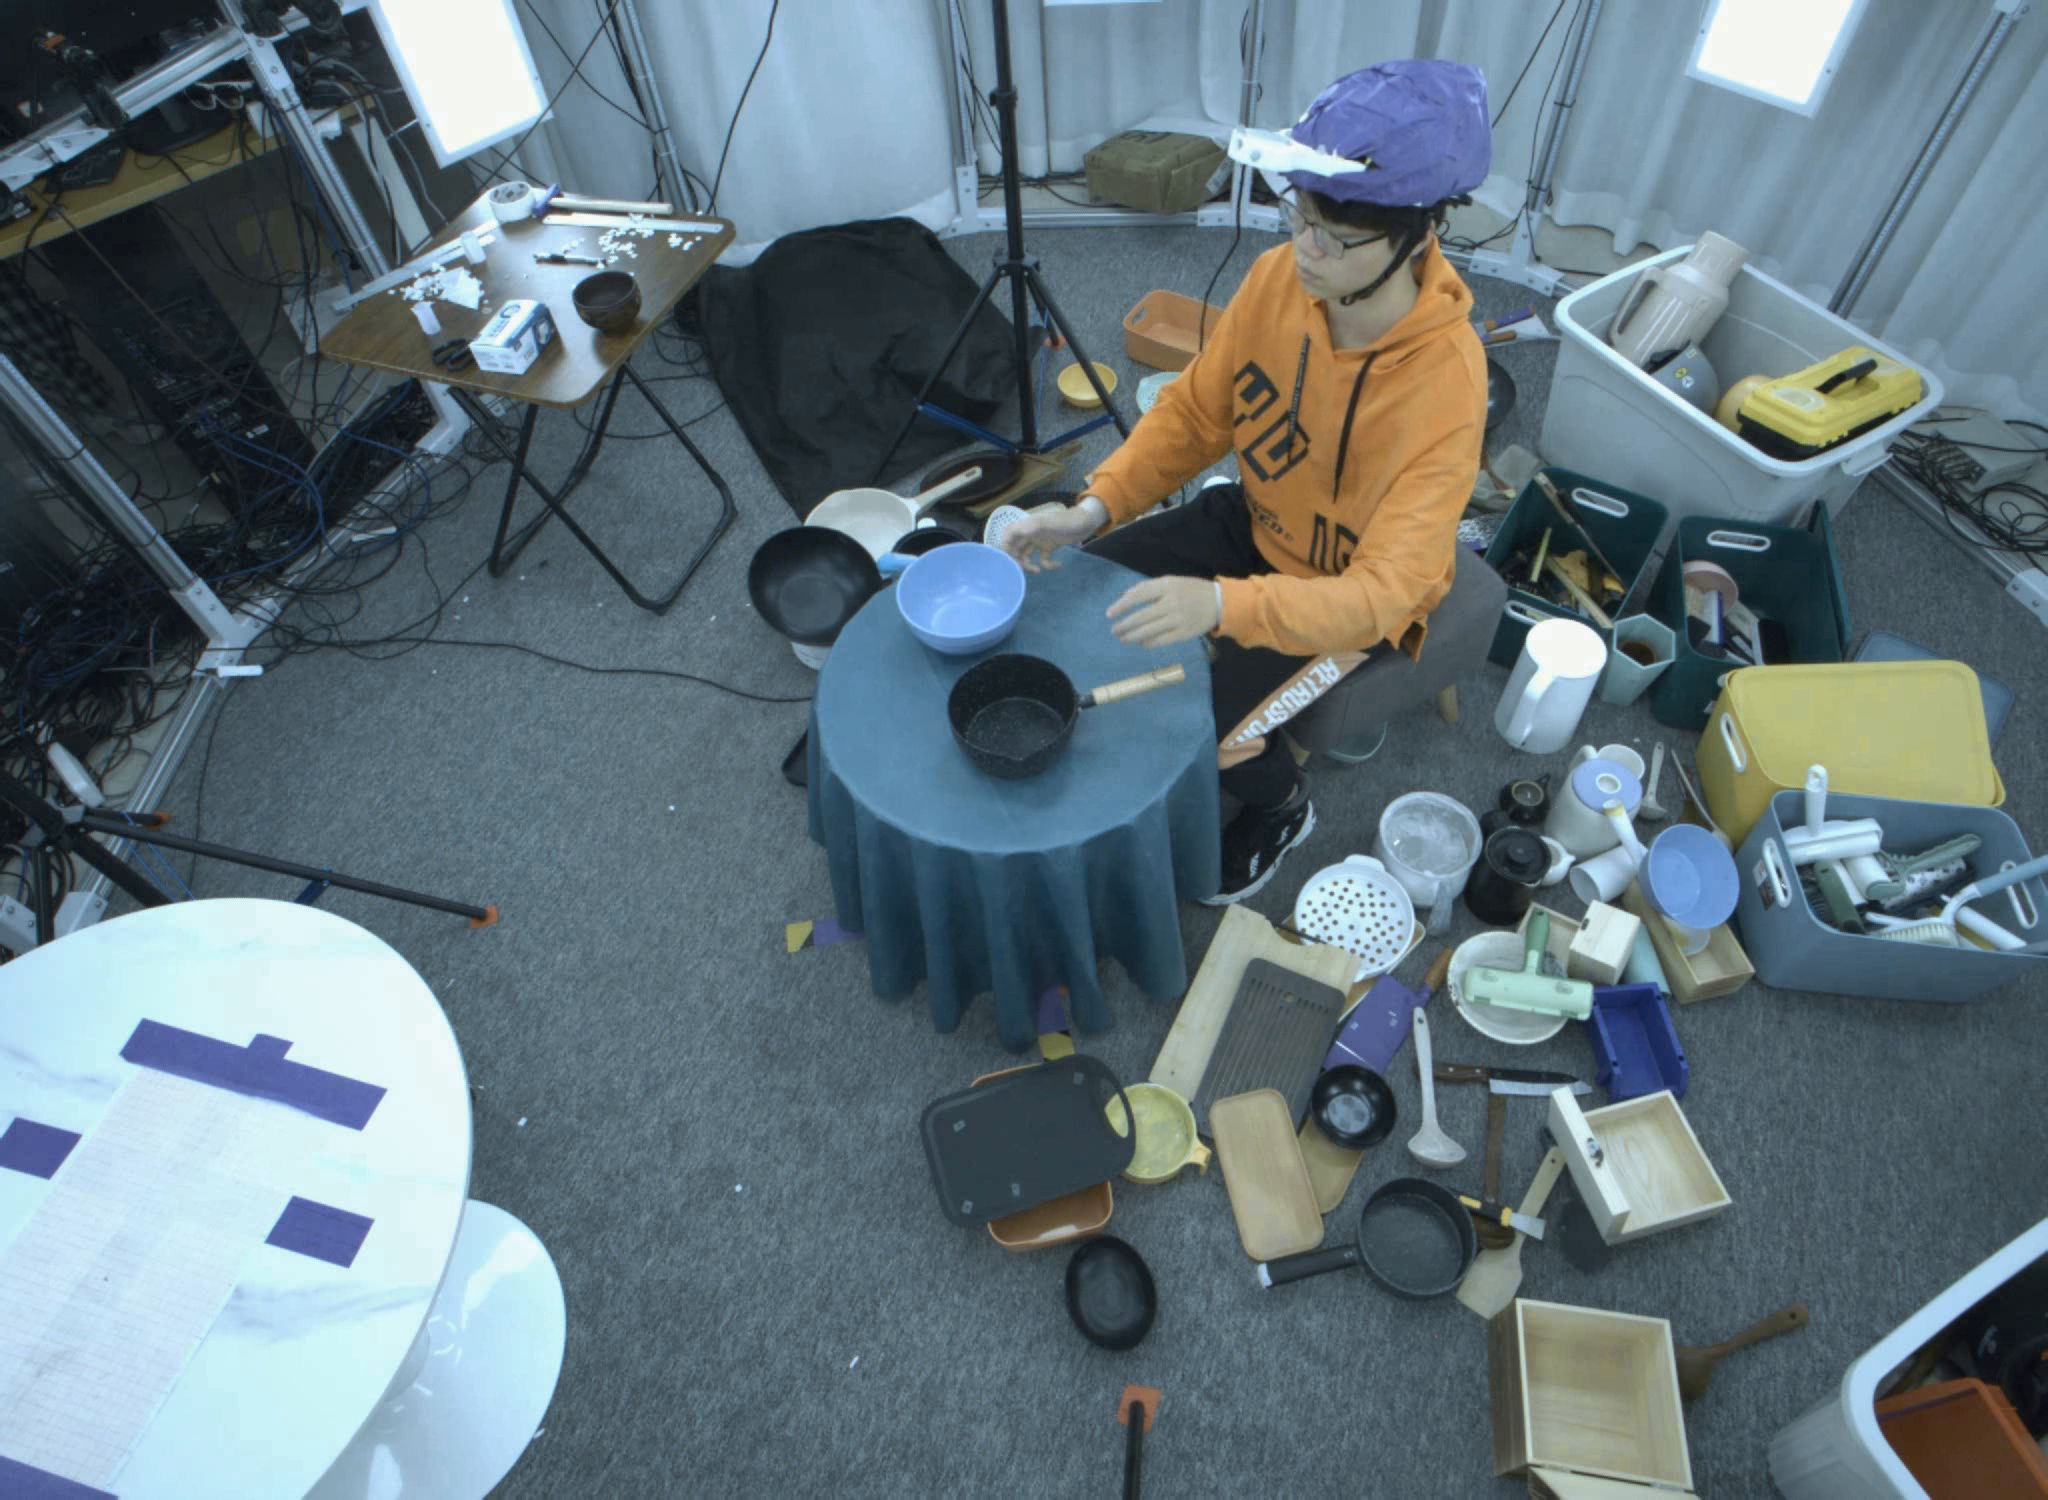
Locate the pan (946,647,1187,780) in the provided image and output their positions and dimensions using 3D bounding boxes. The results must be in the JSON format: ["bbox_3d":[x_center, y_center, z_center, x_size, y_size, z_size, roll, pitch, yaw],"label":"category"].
[{"bbox_3d":[0.062,-0.061,1.762,0.343,0.109,0.204,-10,53,-3],"label":"pan"}]

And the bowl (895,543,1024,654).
[{"bbox_3d":[-0.094,-0.218,1.886,0.196,0.096,0.194,-1,54,3],"label":"bowl"}]
